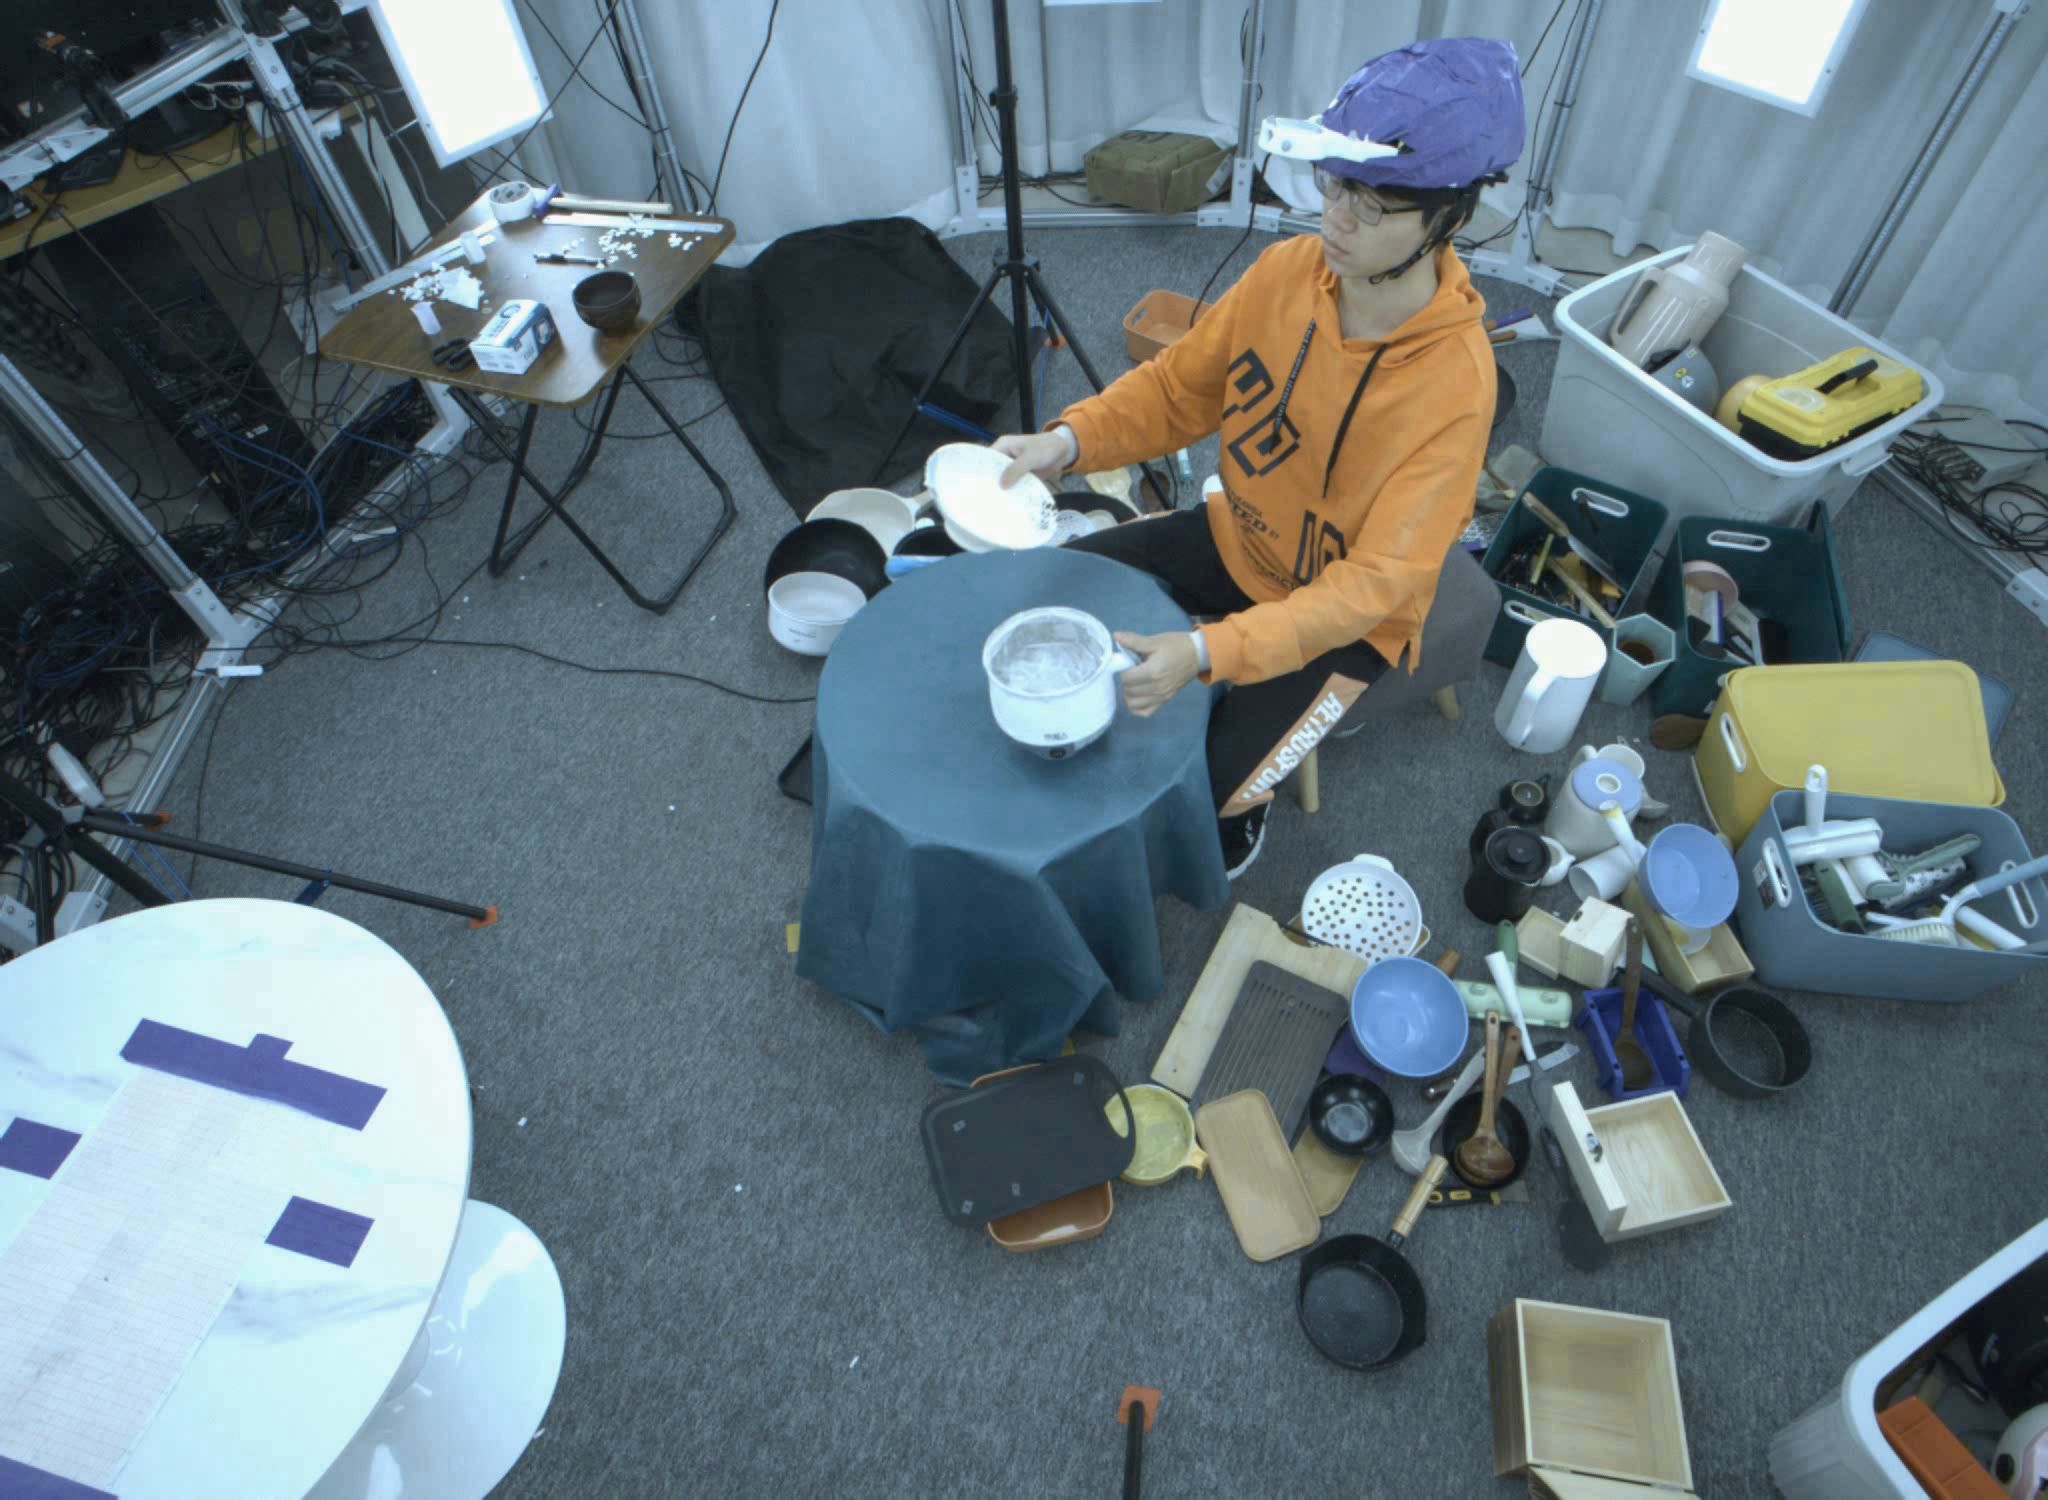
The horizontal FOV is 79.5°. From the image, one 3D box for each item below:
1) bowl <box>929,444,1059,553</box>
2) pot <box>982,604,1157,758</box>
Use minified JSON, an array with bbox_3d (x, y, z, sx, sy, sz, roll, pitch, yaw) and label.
[{"bbox_3d":[-0.058,-0.333,1.708,0.207,0.077,0.202,22,43,-20],"label":"bowl"},{"bbox_3d":[0.066,-0.099,1.712,0.233,0.138,0.176,-6,49,3],"label":"pot"}]
